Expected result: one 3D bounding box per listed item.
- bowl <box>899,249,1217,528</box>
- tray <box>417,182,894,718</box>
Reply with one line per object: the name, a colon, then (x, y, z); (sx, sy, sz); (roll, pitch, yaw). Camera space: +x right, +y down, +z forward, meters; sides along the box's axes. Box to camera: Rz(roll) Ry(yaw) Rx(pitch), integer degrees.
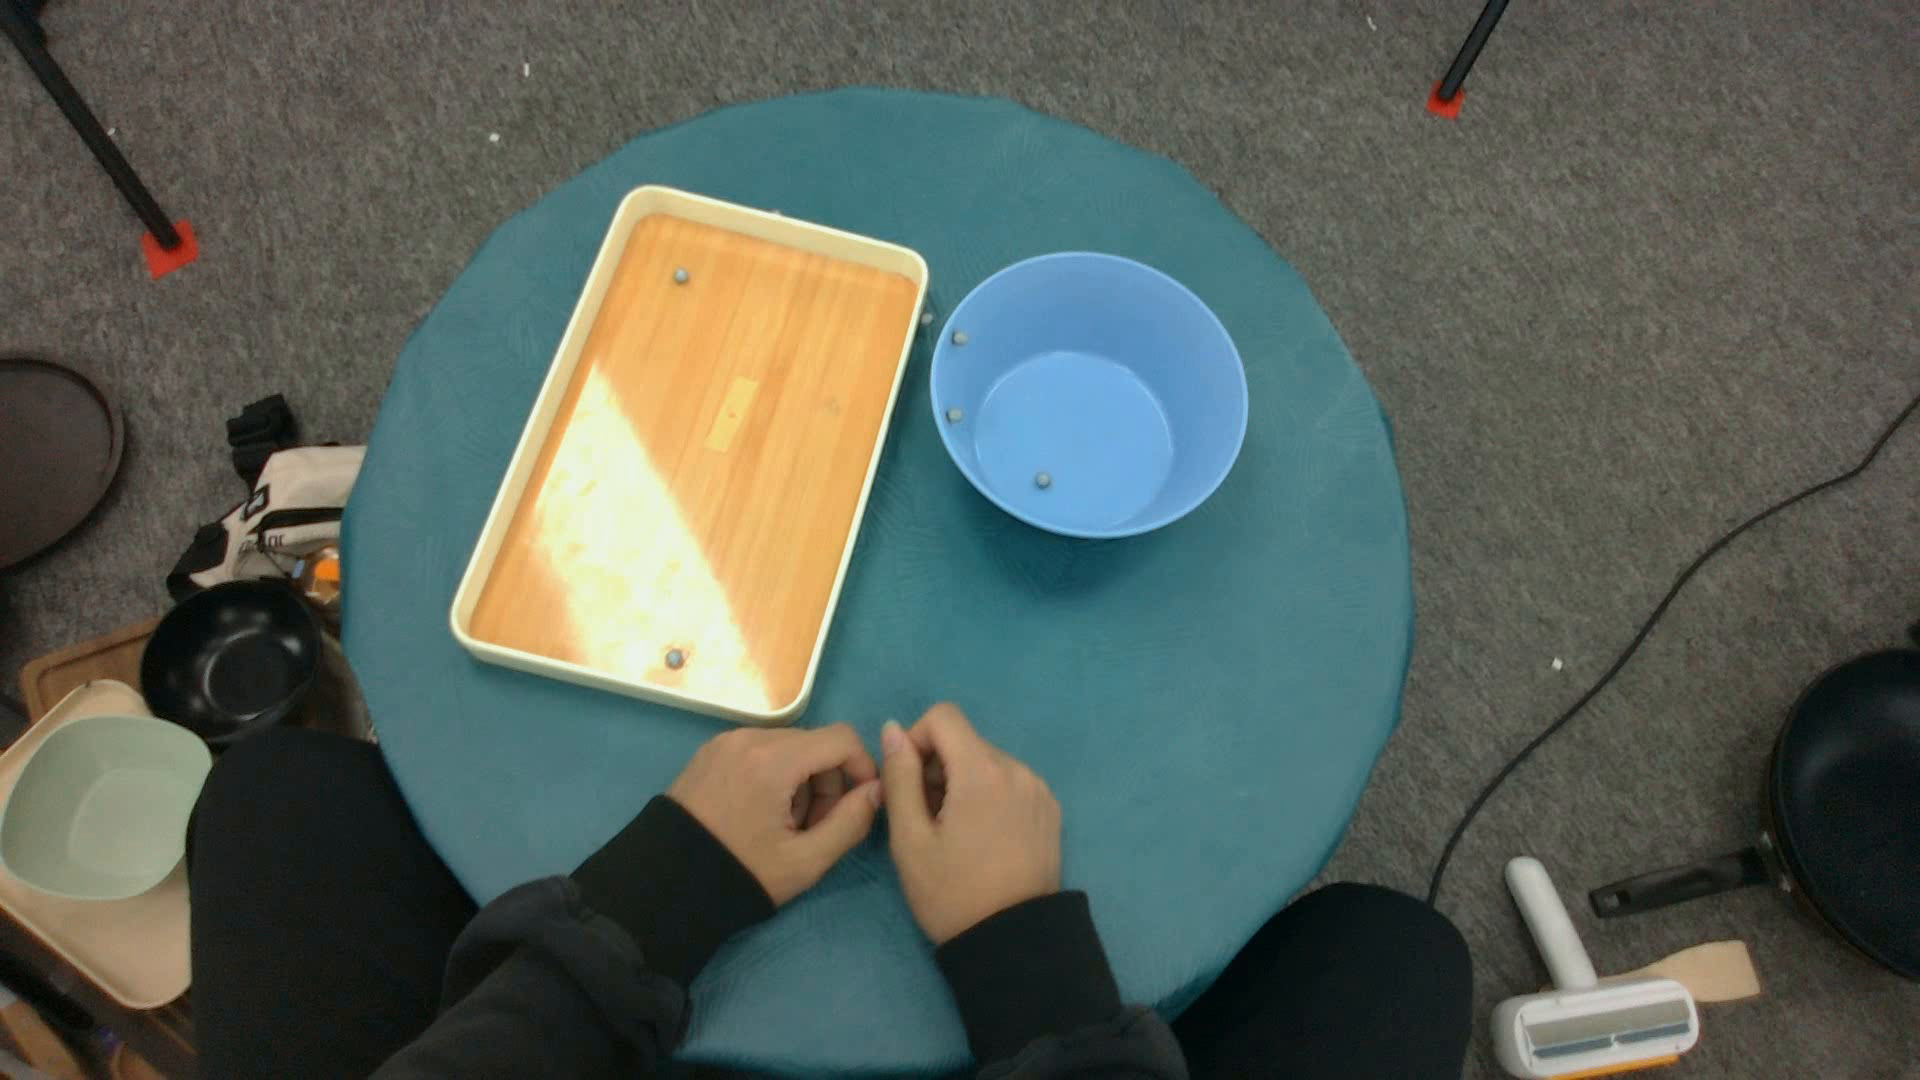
bowl: (0.052, -0.074, 0.780); (0.176, 0.070, 0.176); (2, 65, -4)
tray: (-0.160, -0.060, 0.774); (0.191, 0.027, 0.301); (13, 65, 0)
